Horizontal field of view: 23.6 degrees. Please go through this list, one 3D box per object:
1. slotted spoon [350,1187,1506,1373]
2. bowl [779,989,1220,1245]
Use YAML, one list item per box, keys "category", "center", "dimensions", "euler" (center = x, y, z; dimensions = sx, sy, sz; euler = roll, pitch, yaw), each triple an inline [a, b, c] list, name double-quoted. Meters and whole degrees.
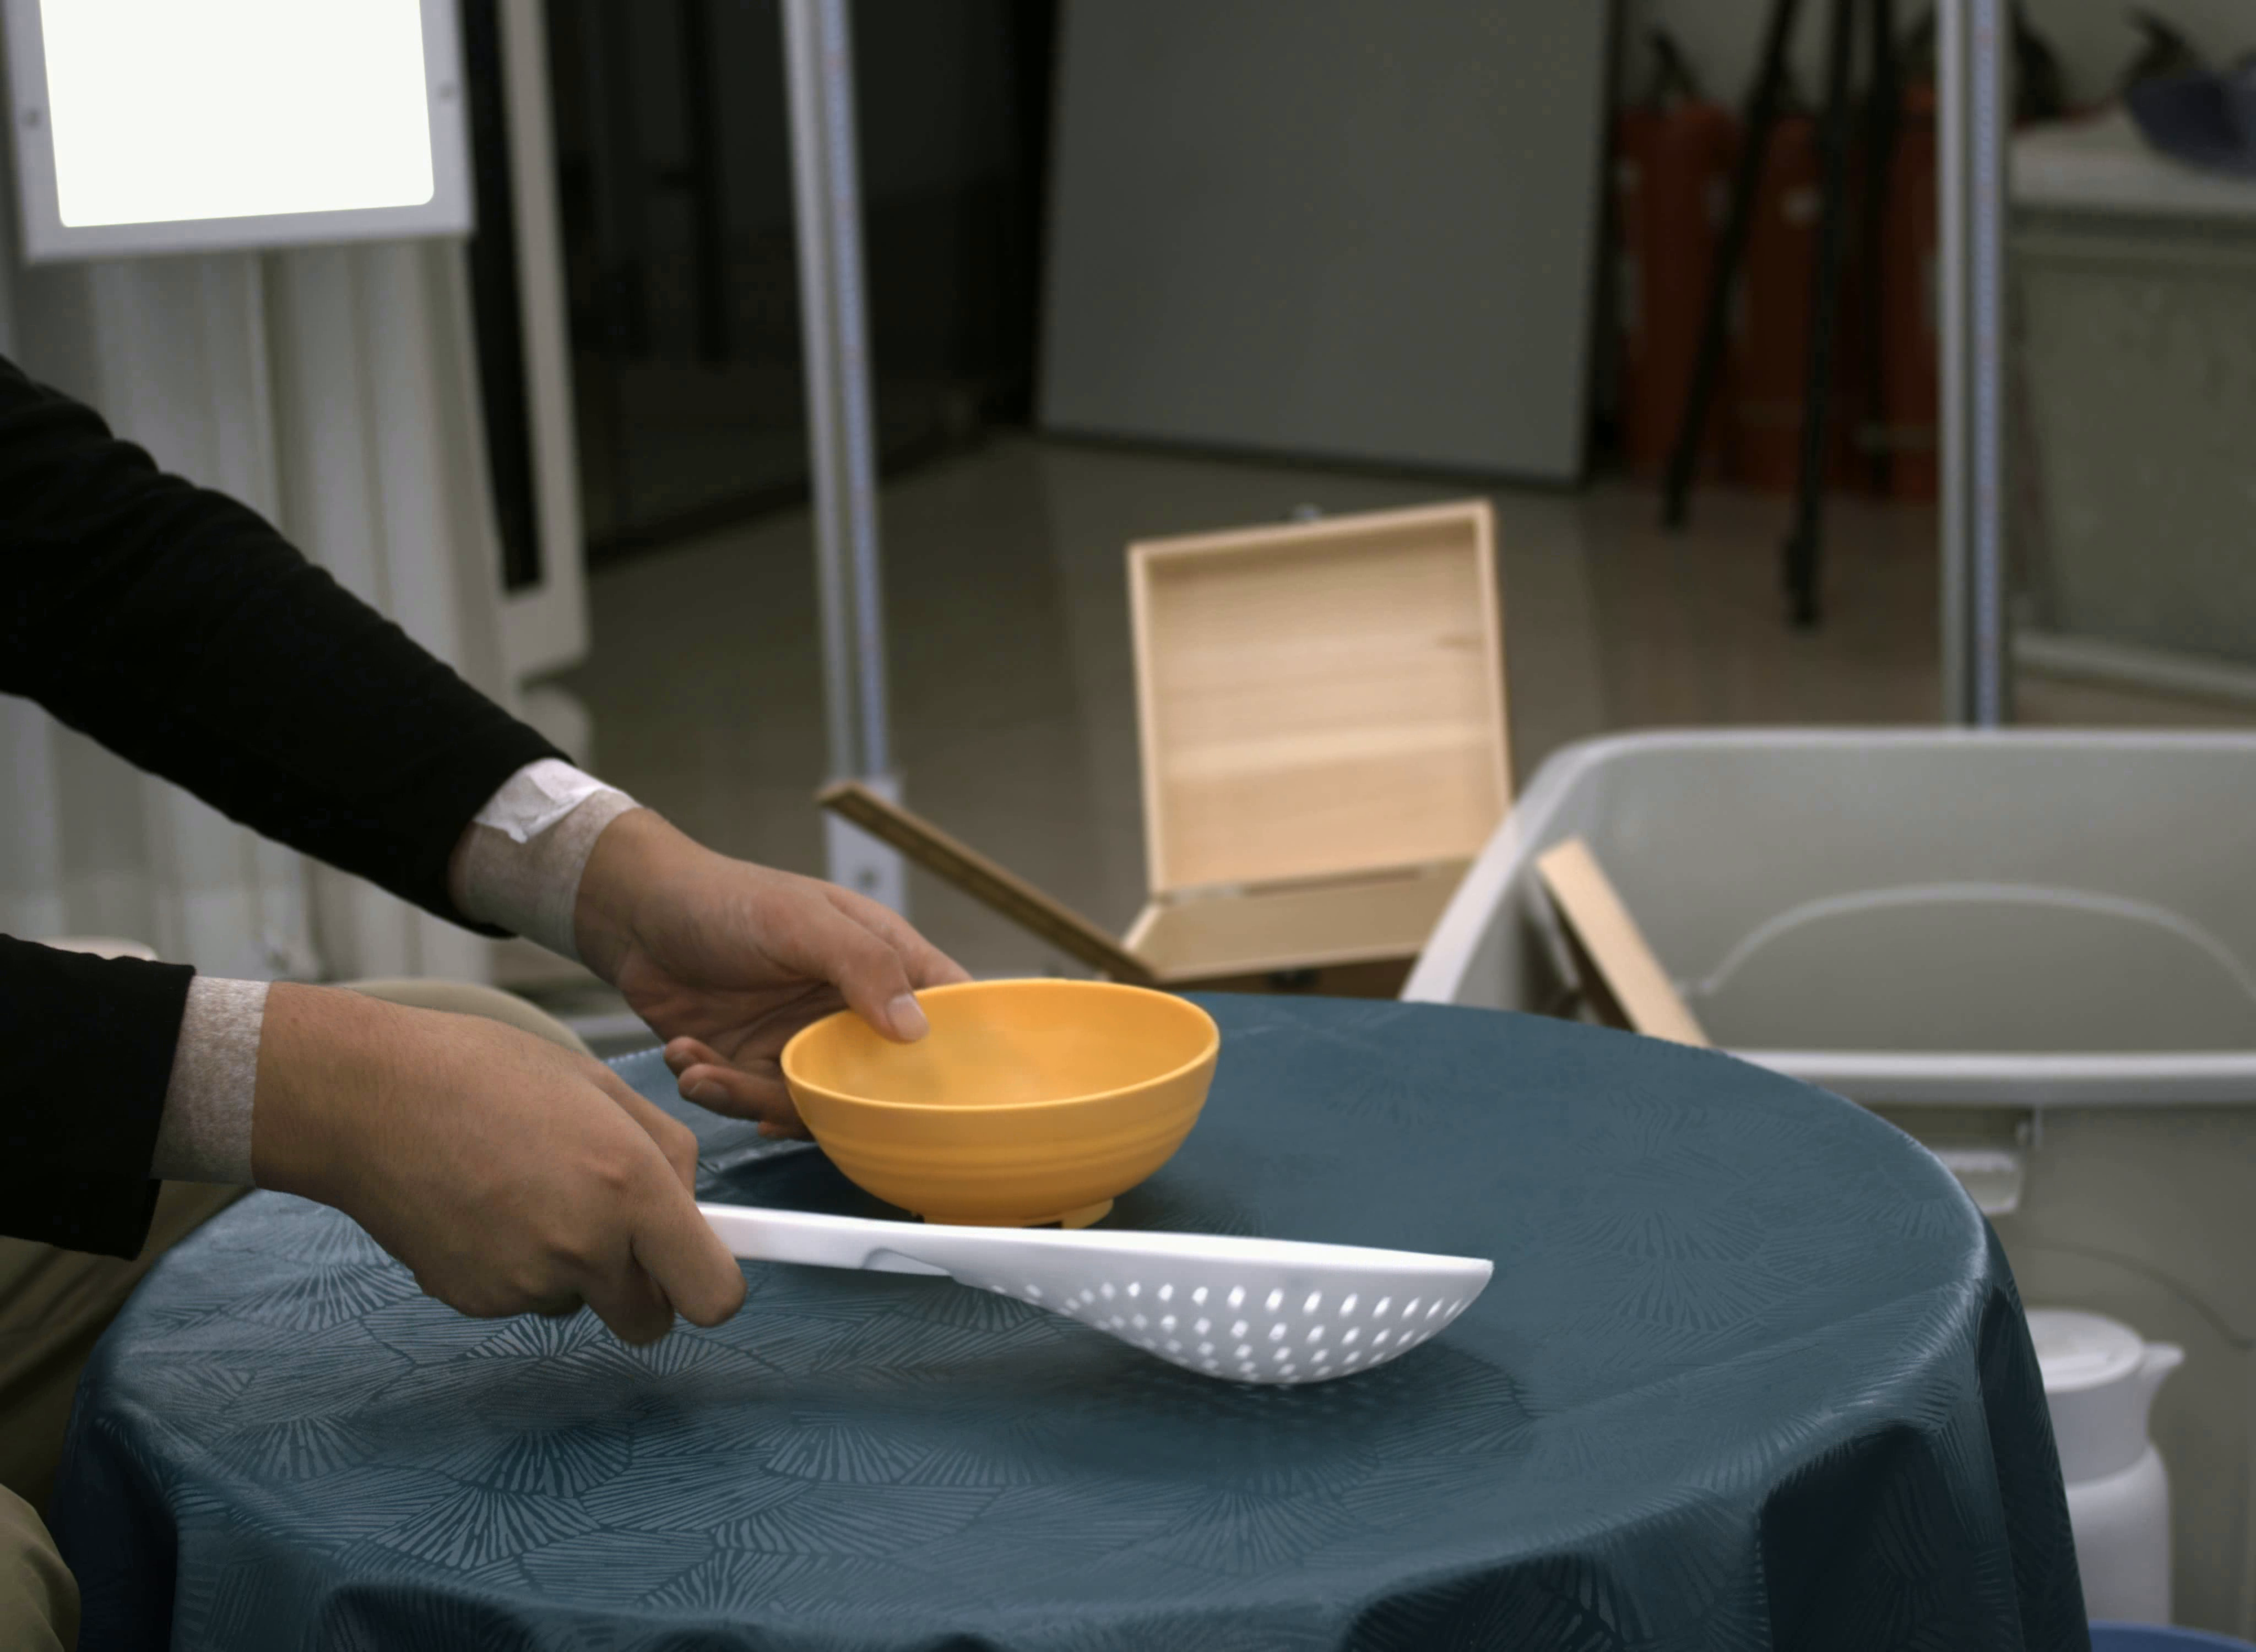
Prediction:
- category: "slotted spoon"
  center: [-0.062, 0.124, 1.596]
  dimensions: [0.347, 0.046, 0.135]
  euler: [7, -5, 12]
- category: "bowl"
  center: [-0.041, 0.100, 1.751]
  dimensions: [0.143, 0.061, 0.145]
  euler: [-2, 13, 0]
